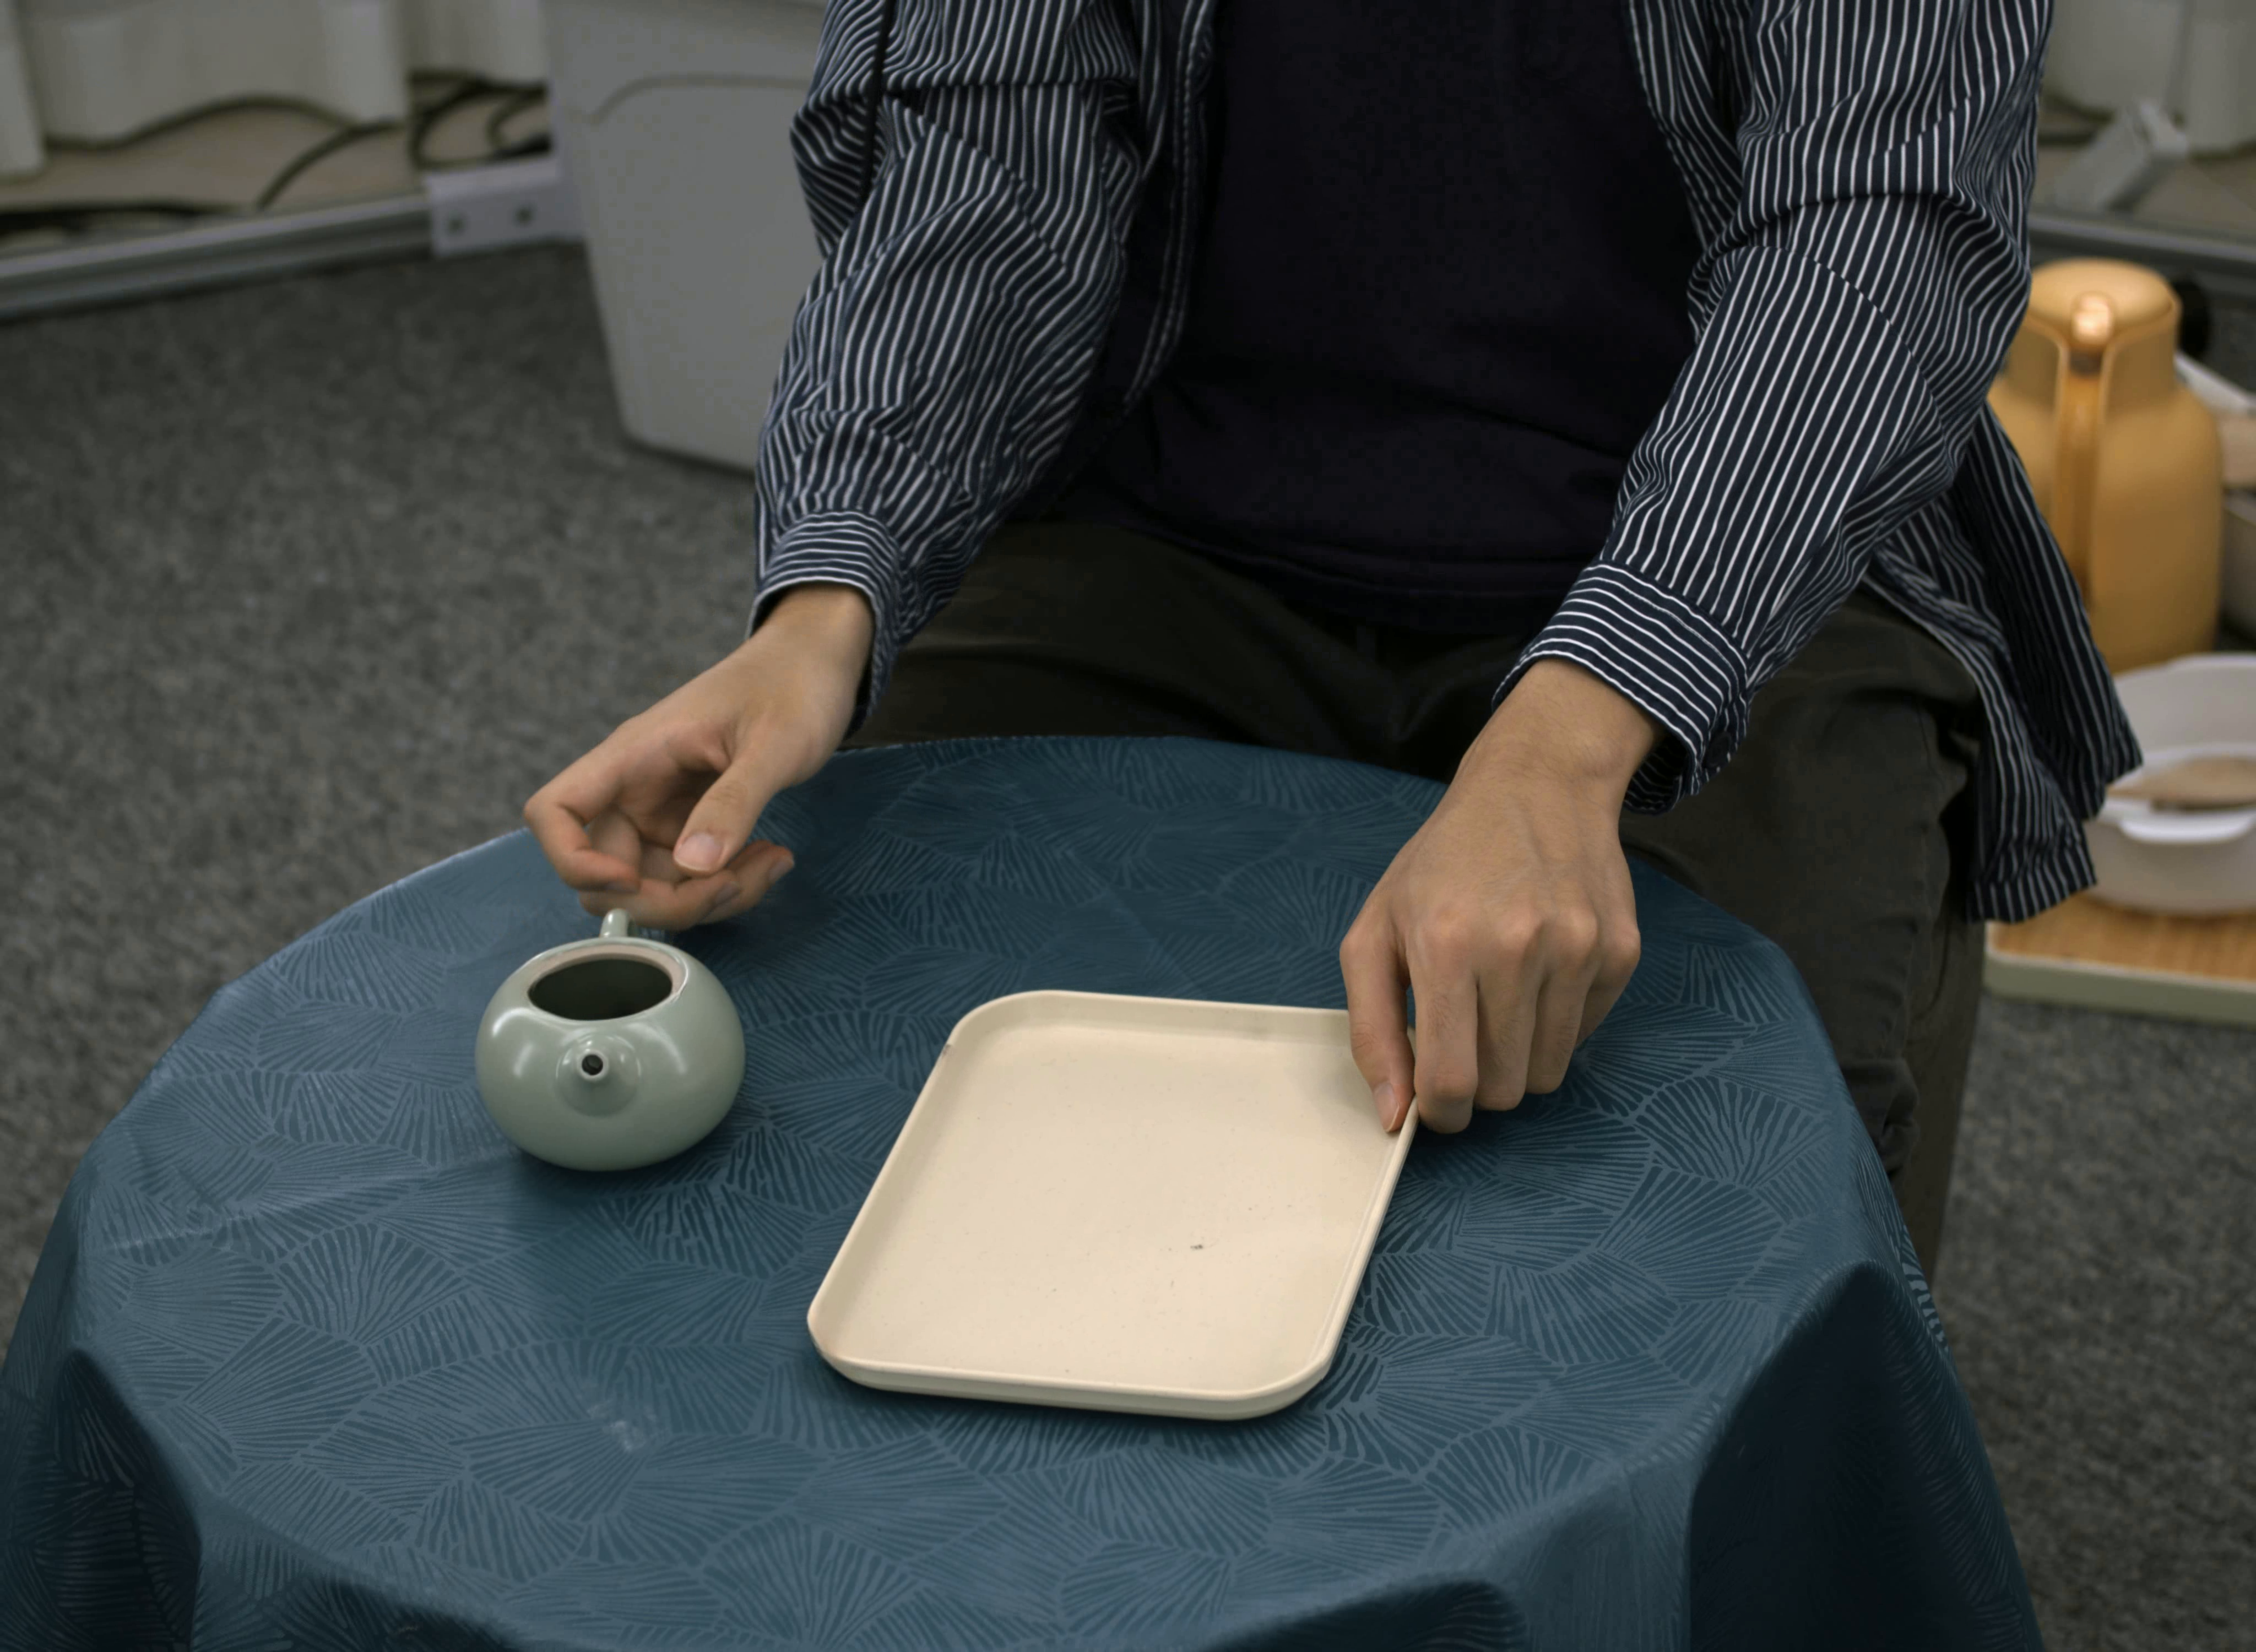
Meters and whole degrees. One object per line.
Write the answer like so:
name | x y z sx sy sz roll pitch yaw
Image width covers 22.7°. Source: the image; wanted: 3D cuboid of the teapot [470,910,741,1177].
teapot | -0.175 0.075 1.902 0.091 0.060 0.130 -2 27 5

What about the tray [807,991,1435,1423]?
tray | 0.001 0.123 1.834 0.170 0.017 0.244 4 28 13
